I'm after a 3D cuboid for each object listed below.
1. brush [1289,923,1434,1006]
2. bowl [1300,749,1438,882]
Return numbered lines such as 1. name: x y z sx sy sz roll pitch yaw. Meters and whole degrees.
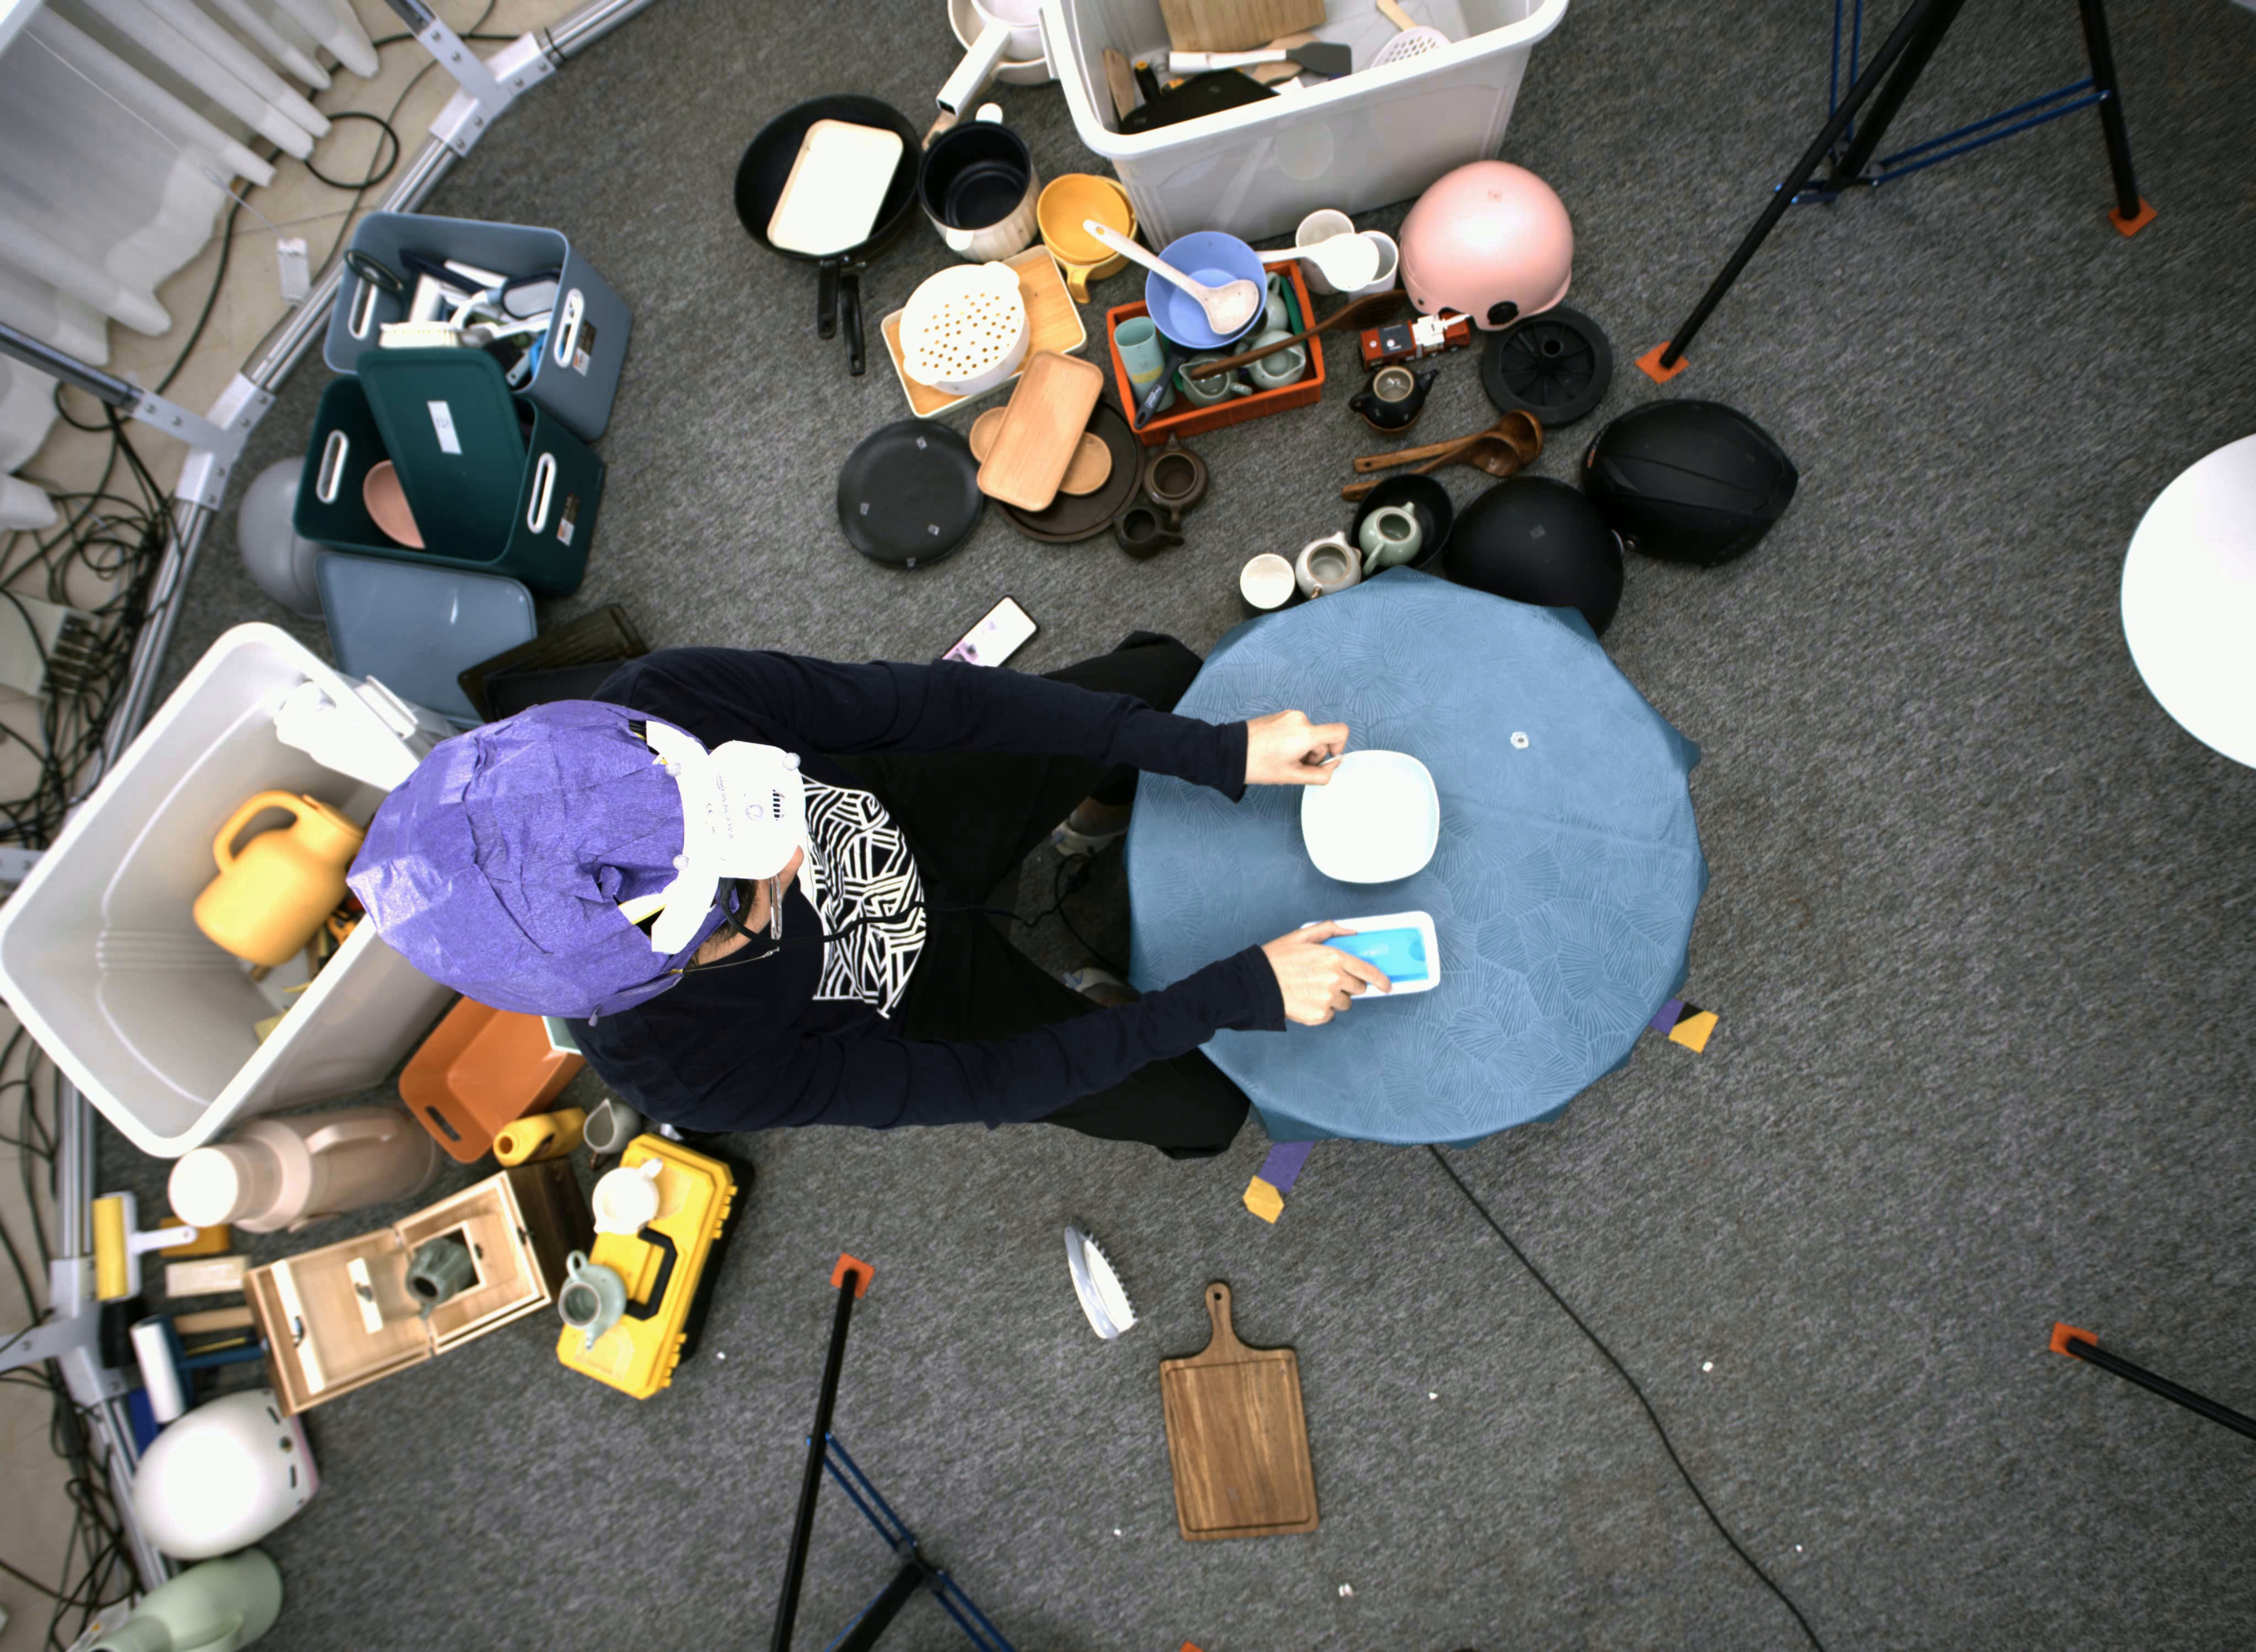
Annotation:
1. brush: 0.234 0.132 1.381 0.144 0.056 0.083 -4 76 3
2. bowl: 0.249 -0.018 1.426 0.152 0.057 0.153 3 107 9
